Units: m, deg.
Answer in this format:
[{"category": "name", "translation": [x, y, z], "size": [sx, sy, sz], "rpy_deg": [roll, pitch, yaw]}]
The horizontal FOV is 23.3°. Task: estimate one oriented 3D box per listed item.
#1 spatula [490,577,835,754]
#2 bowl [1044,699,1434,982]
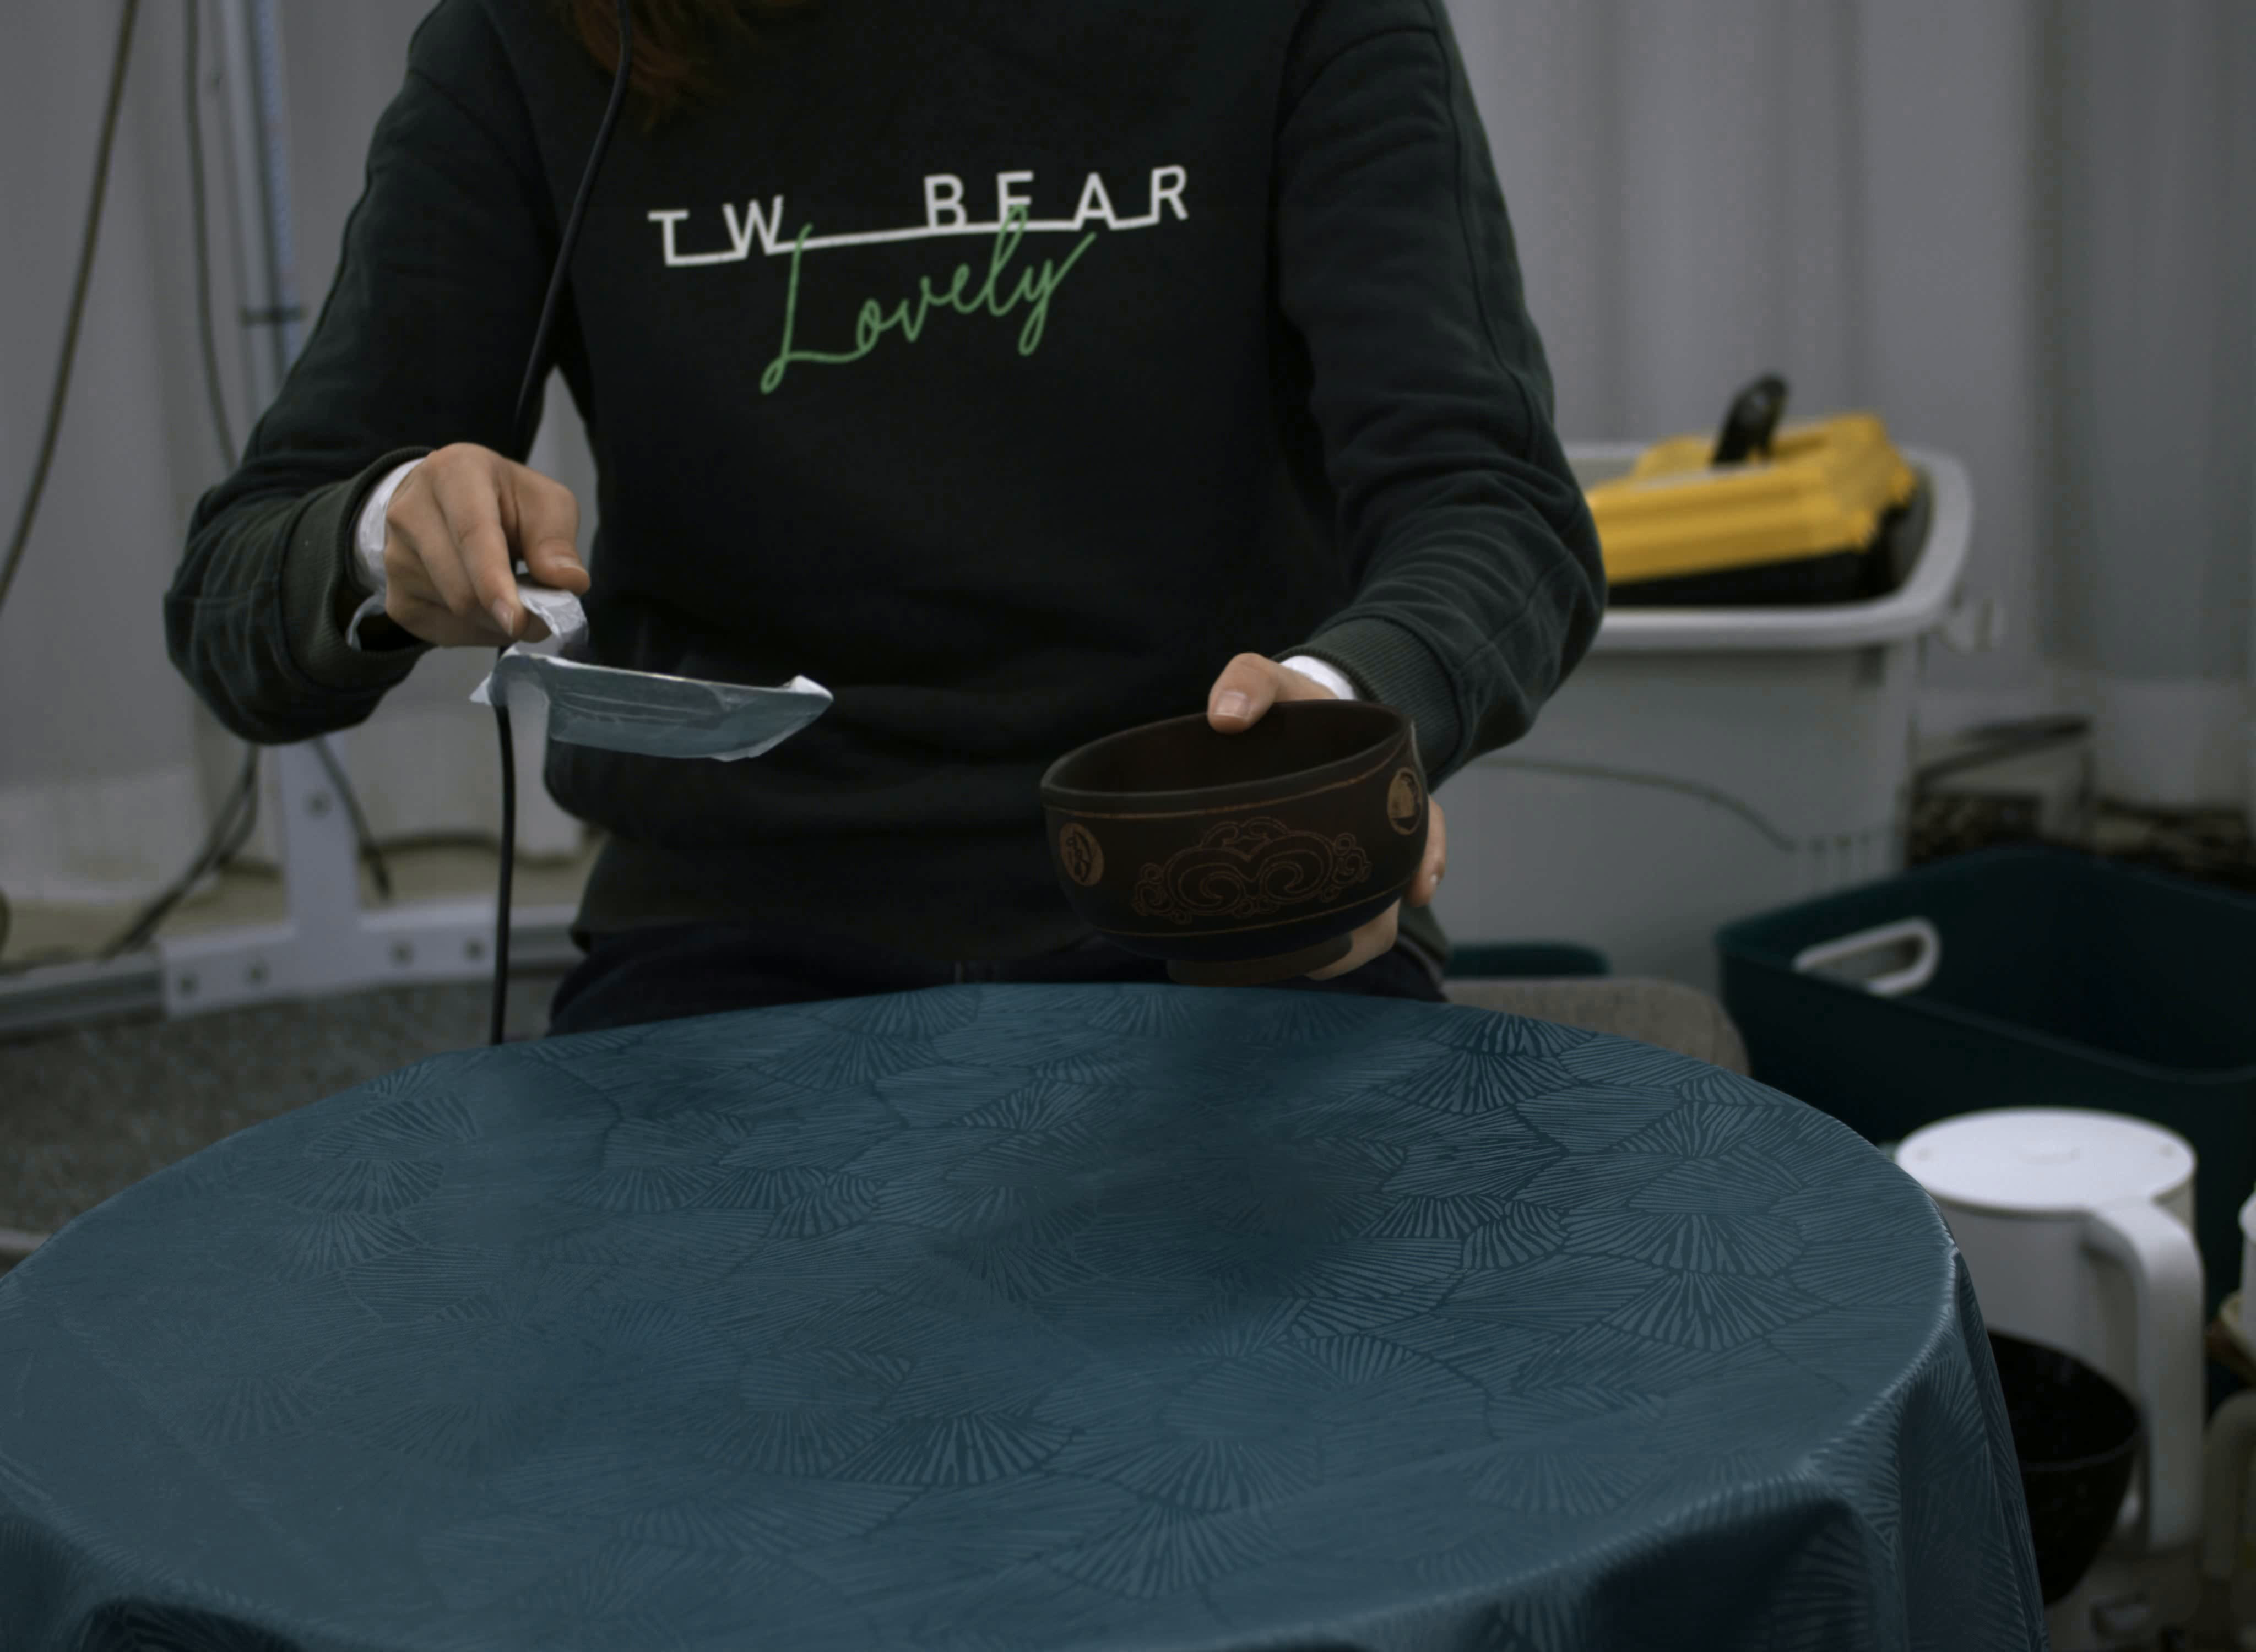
[{"category": "spatula", "translation": [-0.169, -0.062, 1.722], "size": [0.098, 0.045, 0.367], "rpy_deg": [5, 11, -14]}, {"category": "bowl", "translation": [0.036, 0.007, 1.669], "size": [0.117, 0.069, 0.118], "rpy_deg": [-7, 11, 1]}]
